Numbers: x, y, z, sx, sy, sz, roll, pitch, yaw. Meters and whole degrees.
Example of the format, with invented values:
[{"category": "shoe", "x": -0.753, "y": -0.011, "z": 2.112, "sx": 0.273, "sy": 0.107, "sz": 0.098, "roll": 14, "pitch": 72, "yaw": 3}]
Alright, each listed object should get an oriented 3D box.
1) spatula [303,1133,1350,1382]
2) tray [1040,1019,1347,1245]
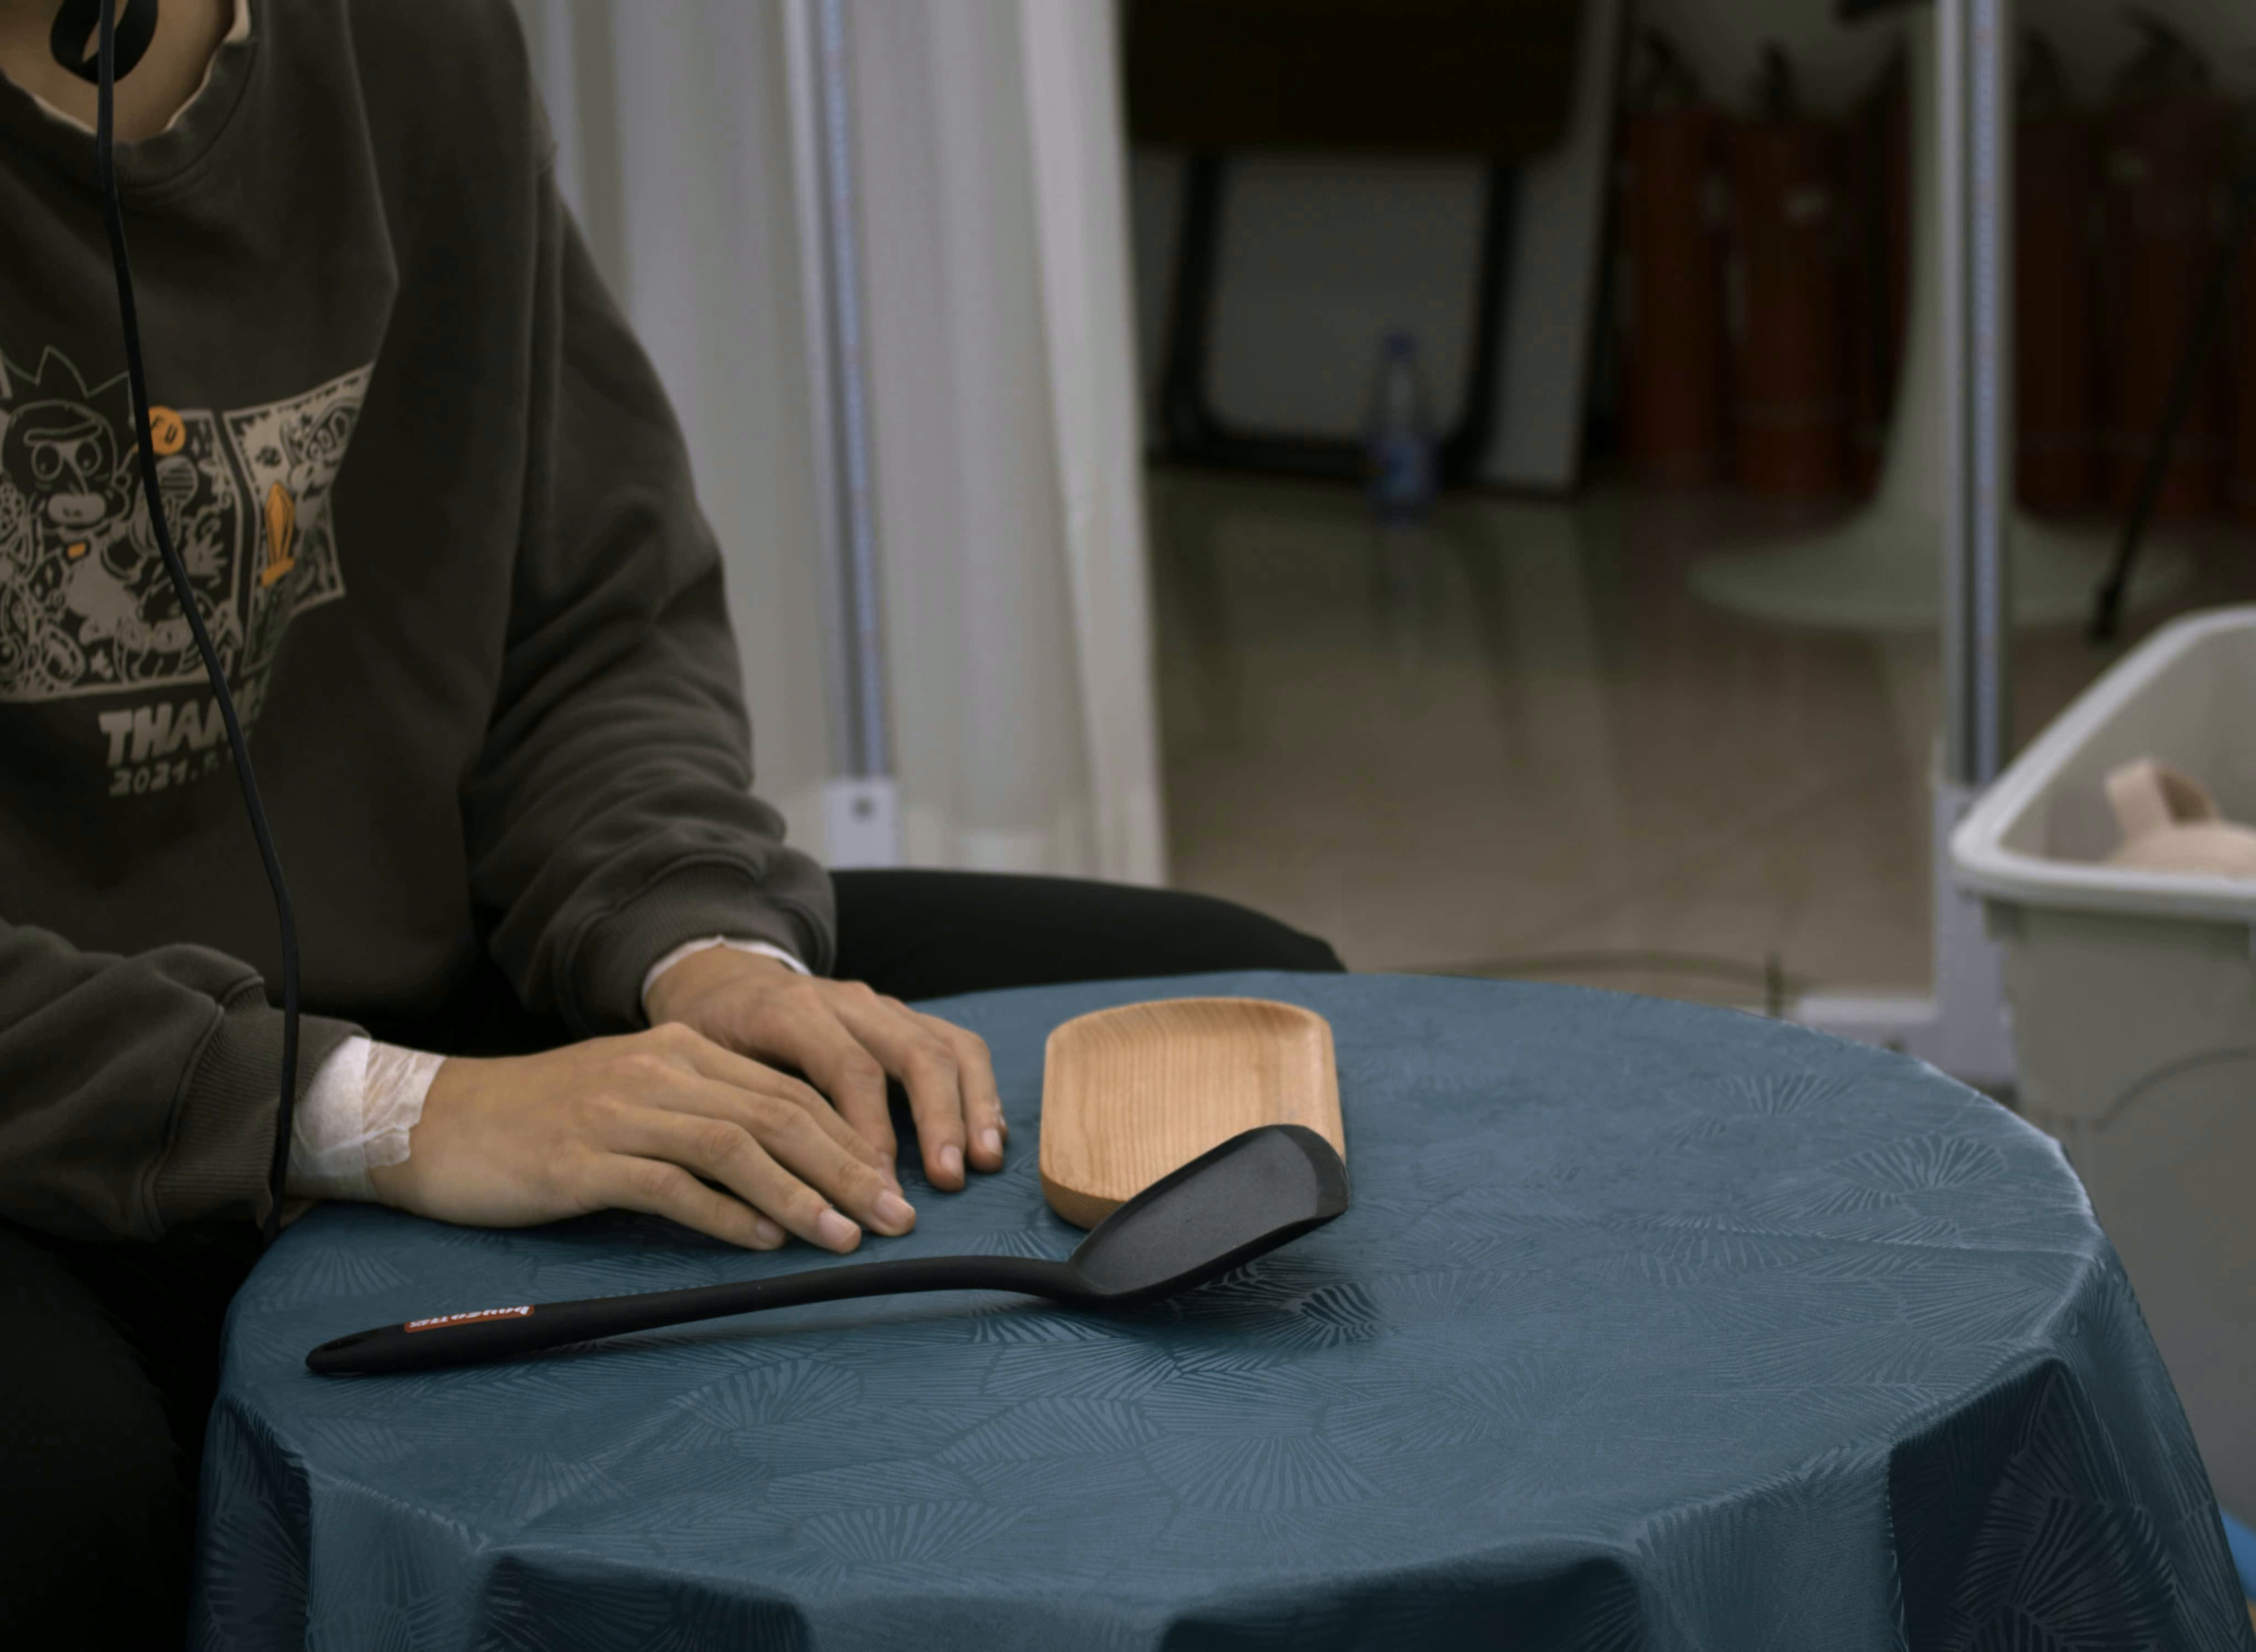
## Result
[{"category": "spatula", "x": -0.092, "y": 0.138, "z": 1.659, "sx": 0.321, "sy": 0.041, "sz": 0.100, "roll": -5, "pitch": 12, "yaw": -5}, {"category": "tray", "x": 0.022, "y": 0.102, "z": 1.819, "sx": 0.100, "sy": 0.020, "sz": 0.231, "roll": -4, "pitch": 14, "yaw": 2}]
